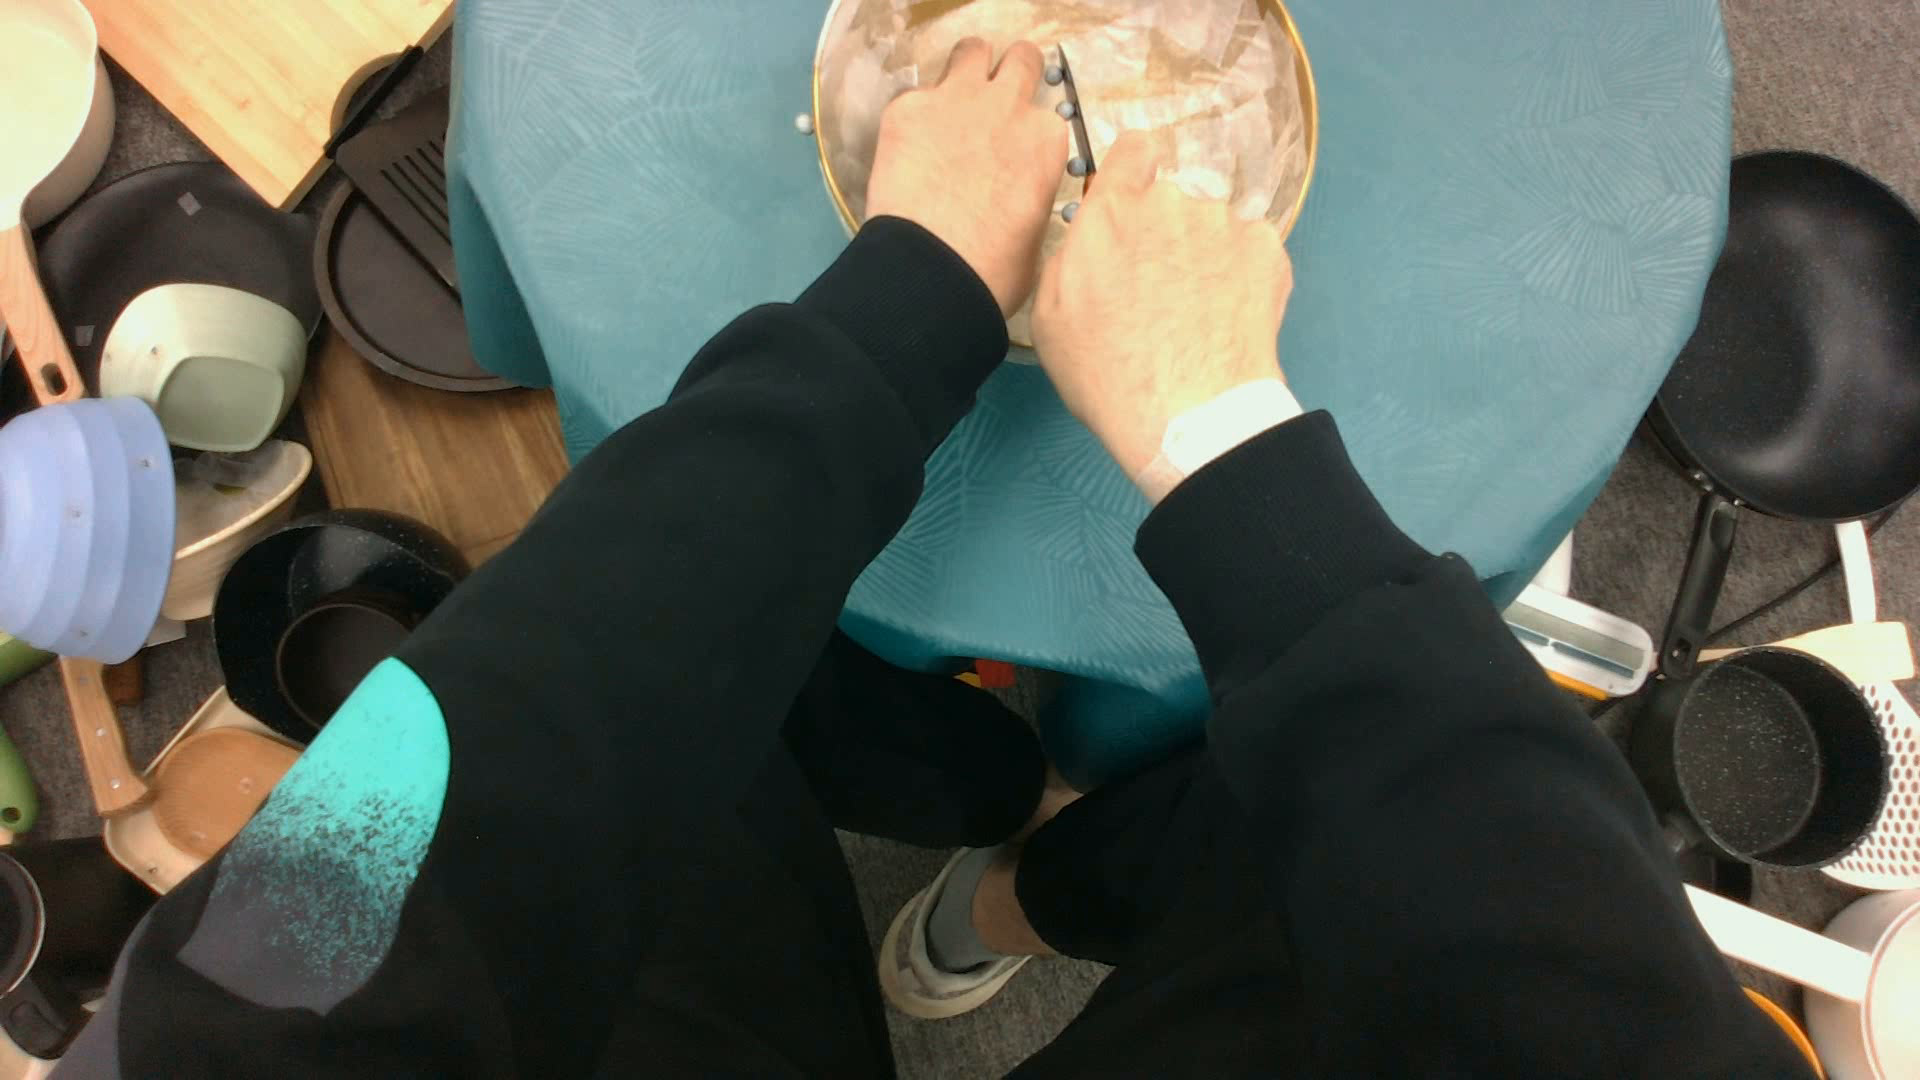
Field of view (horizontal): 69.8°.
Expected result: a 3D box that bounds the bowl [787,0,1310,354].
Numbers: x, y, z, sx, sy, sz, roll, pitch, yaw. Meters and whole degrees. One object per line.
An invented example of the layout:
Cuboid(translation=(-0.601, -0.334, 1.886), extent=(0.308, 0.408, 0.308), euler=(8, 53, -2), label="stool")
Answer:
Cuboid(translation=(0.033, -0.163, 0.582), extent=(0.215, 0.094, 0.215), euler=(1, 78, -5), label="bowl")

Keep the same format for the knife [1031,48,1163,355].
Cuboid(translation=(0.048, -0.147, 0.548), extent=(0.017, 0.026, 0.226), euler=(-17, 46, 7), label="knife")
